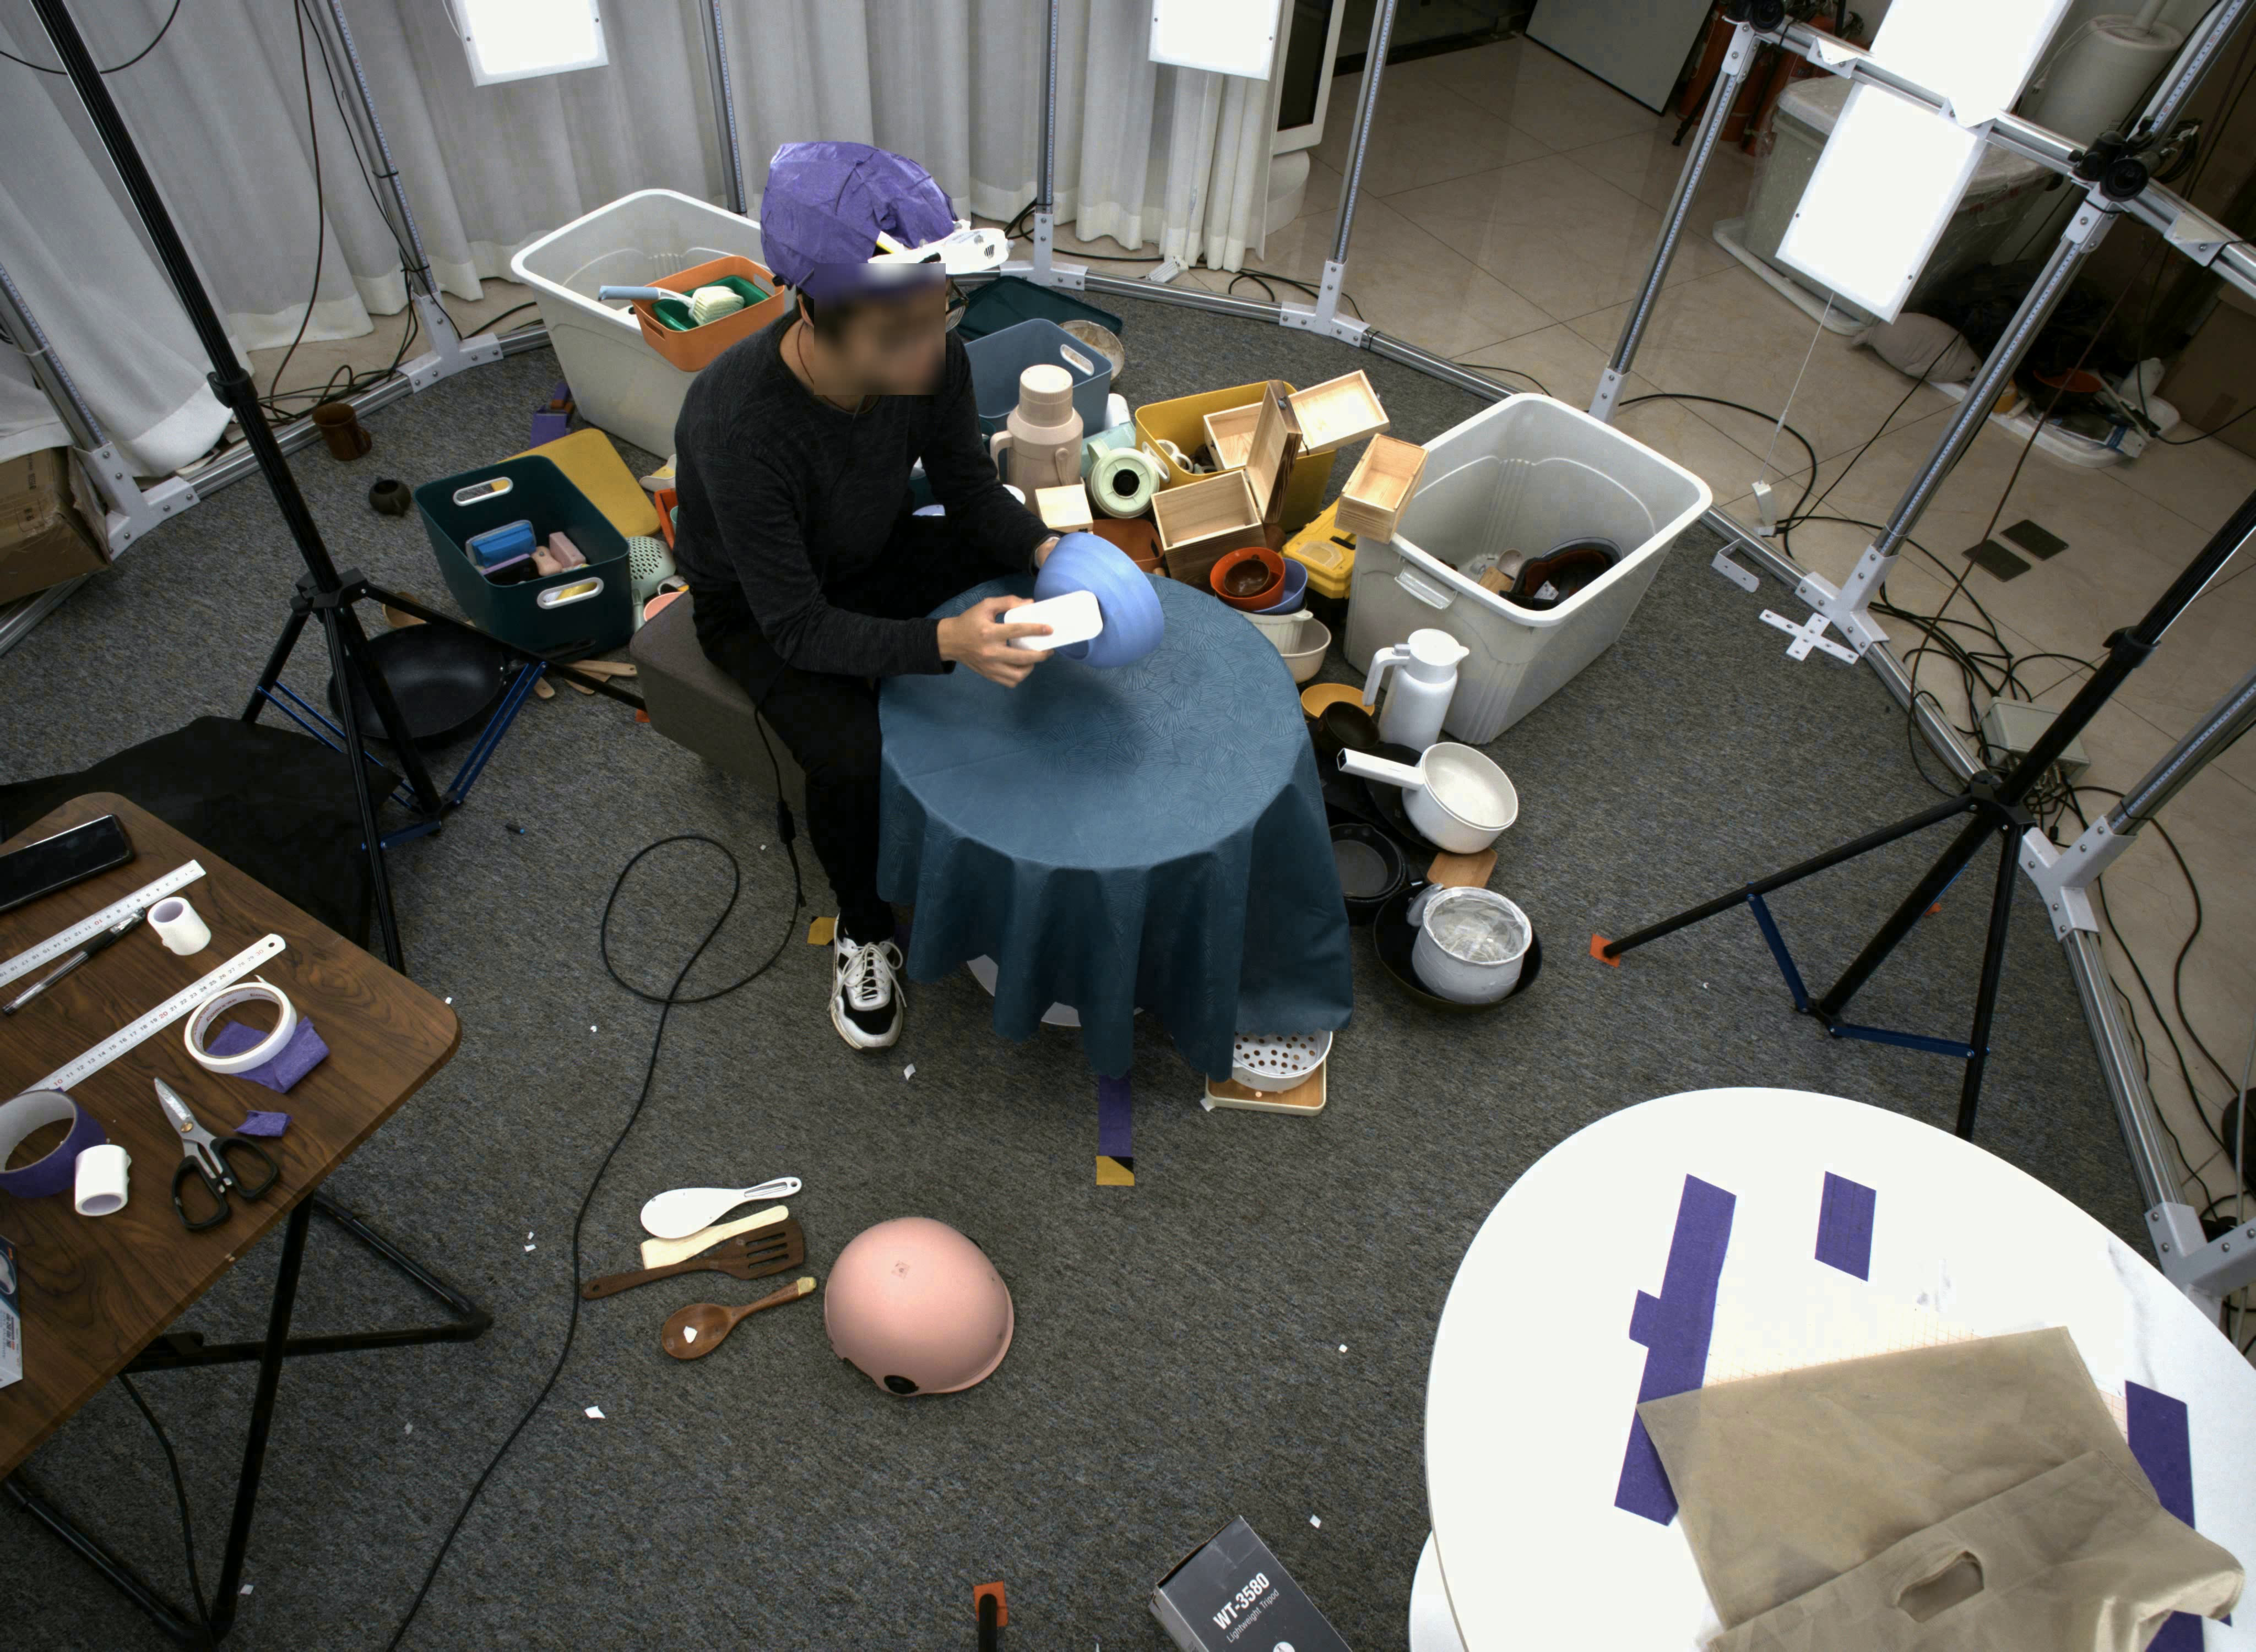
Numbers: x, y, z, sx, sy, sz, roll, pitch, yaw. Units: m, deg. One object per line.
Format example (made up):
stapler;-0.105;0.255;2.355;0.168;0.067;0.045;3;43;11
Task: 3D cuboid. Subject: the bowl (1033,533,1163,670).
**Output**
bowl;-0.058;-0.284;1.730;0.199;0.192;0.096;34;60;22

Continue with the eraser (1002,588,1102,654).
eraser;-0.099;-0.266;1.663;0.131;0.063;0.034;-11;4;21
